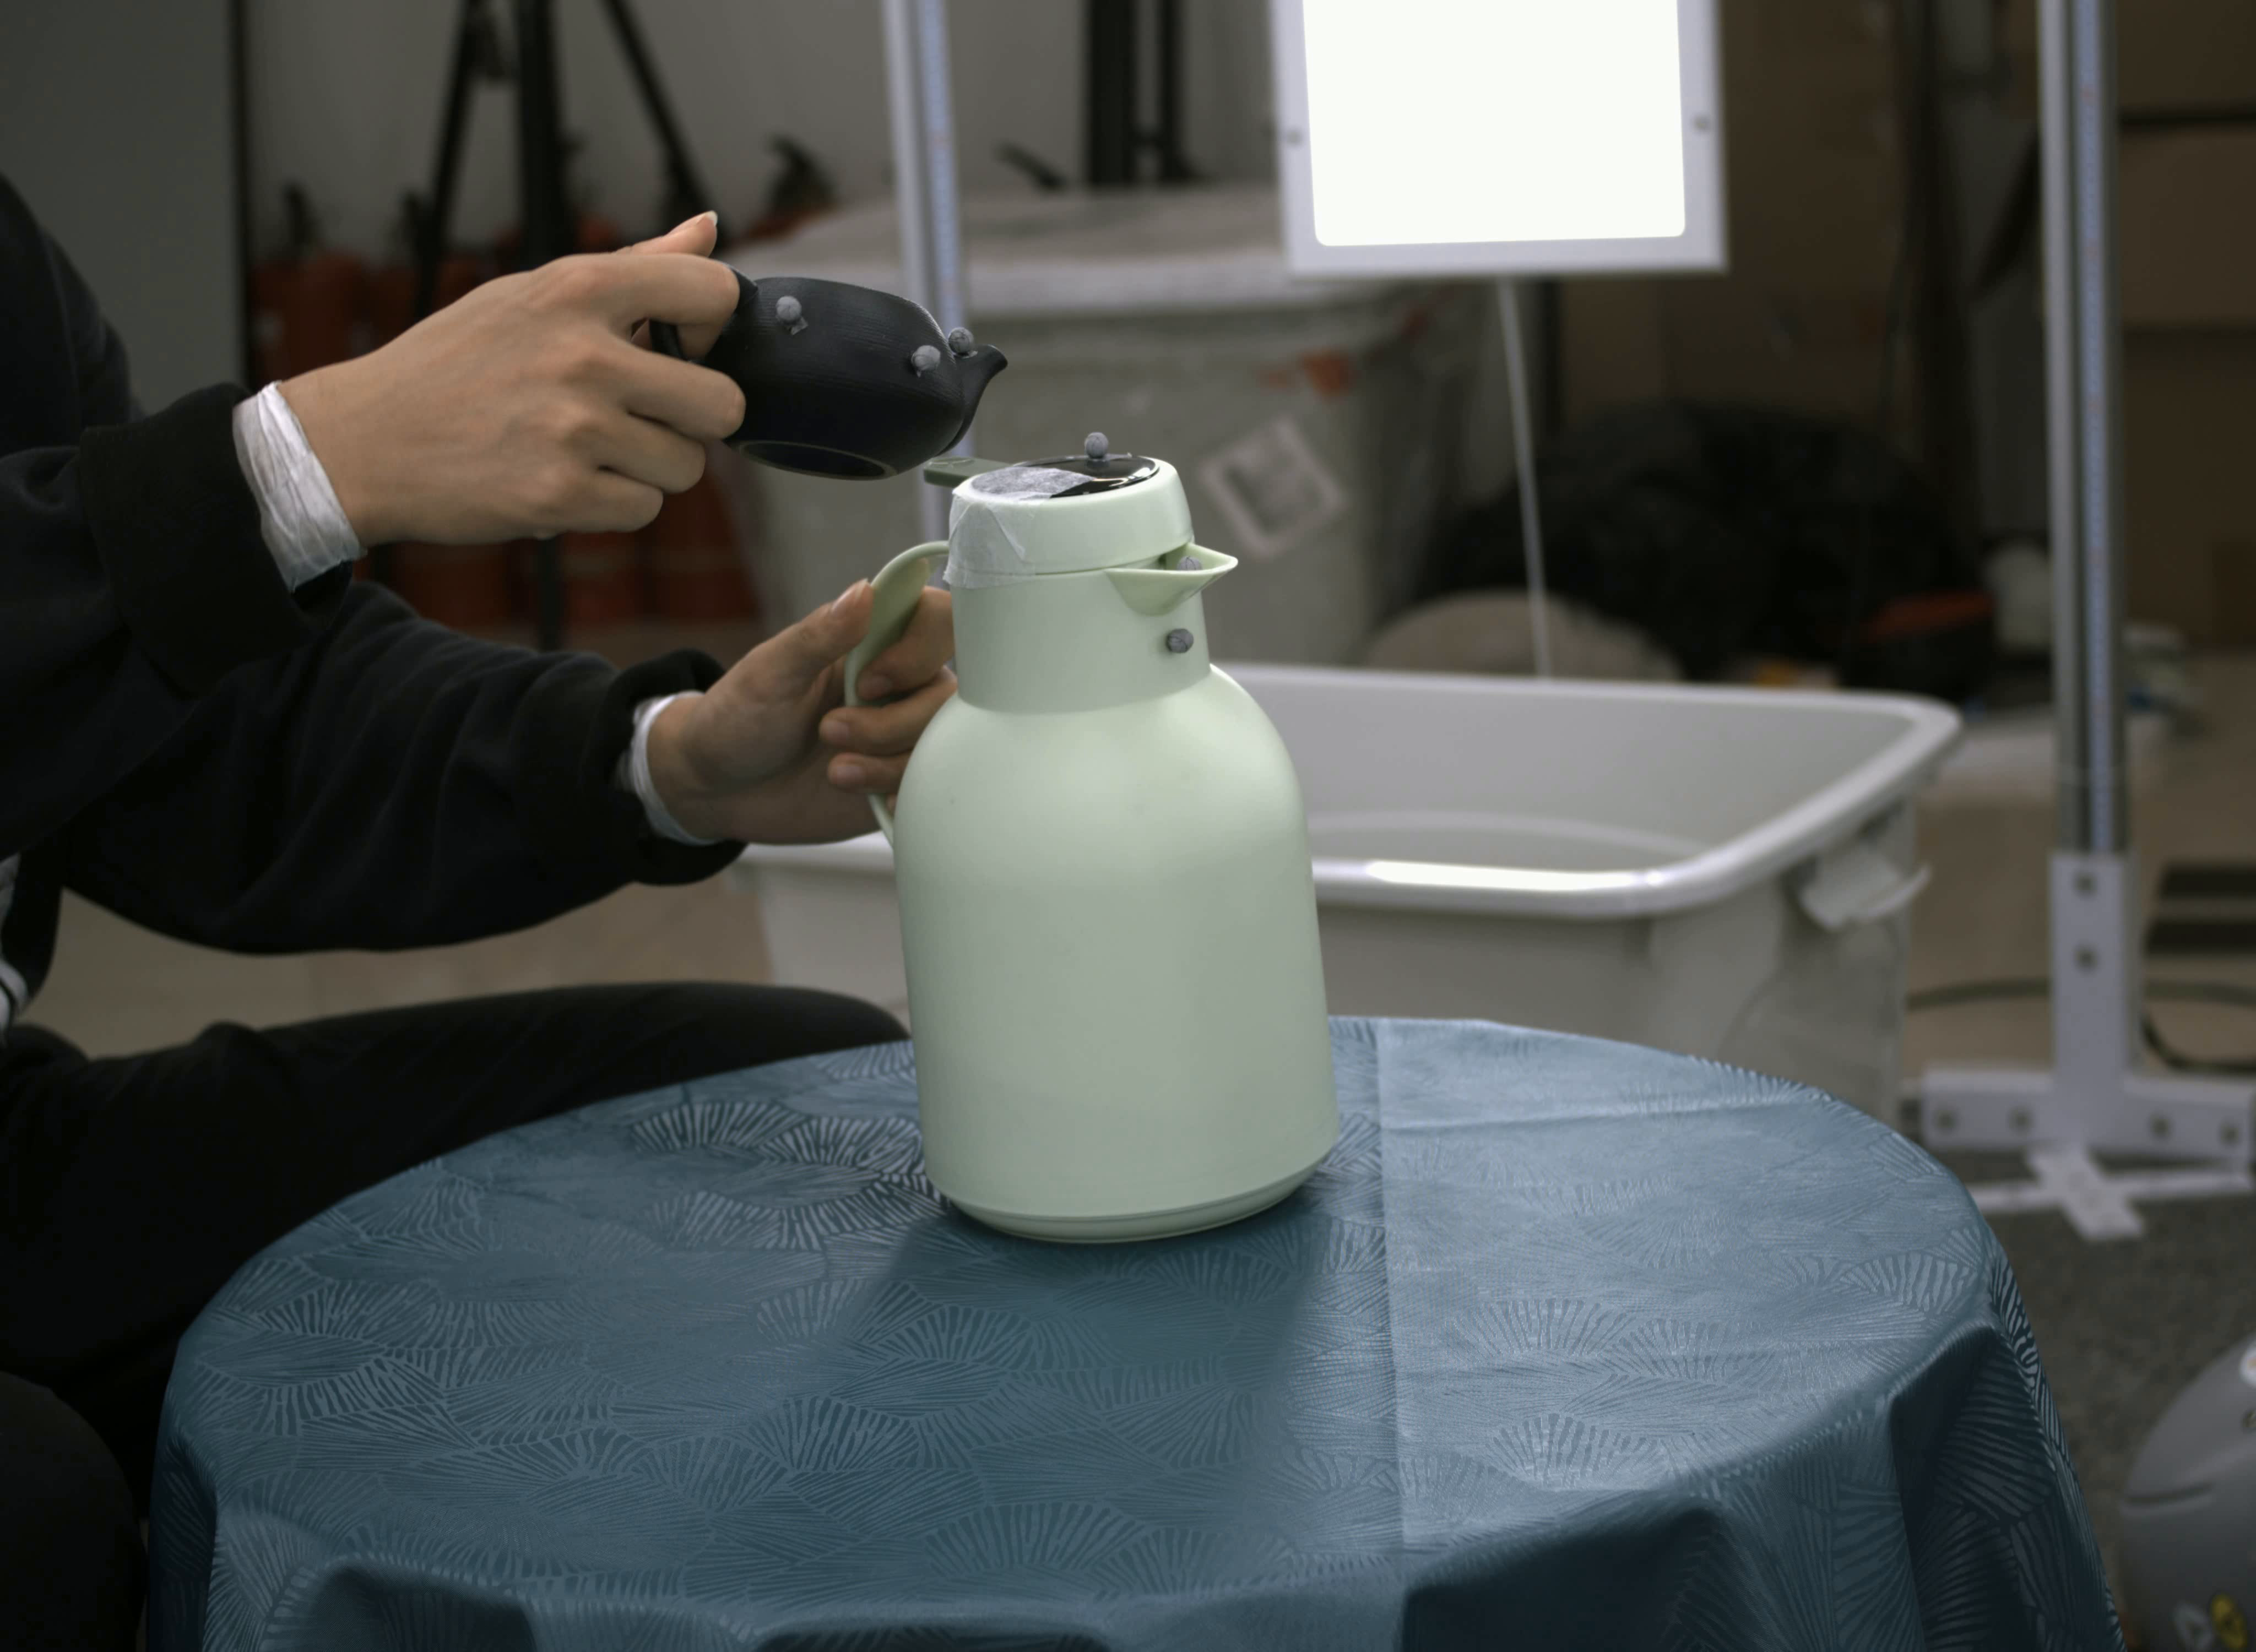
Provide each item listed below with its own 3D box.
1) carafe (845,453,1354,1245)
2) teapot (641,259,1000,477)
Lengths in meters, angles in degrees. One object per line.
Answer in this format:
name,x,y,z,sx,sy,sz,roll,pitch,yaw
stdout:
carafe,-0.018,0.002,1.880,0.140,0.257,0.191,-22,18,-40
teapot,-0.098,-0.142,1.749,0.130,0.053,0.093,14,-10,-34
